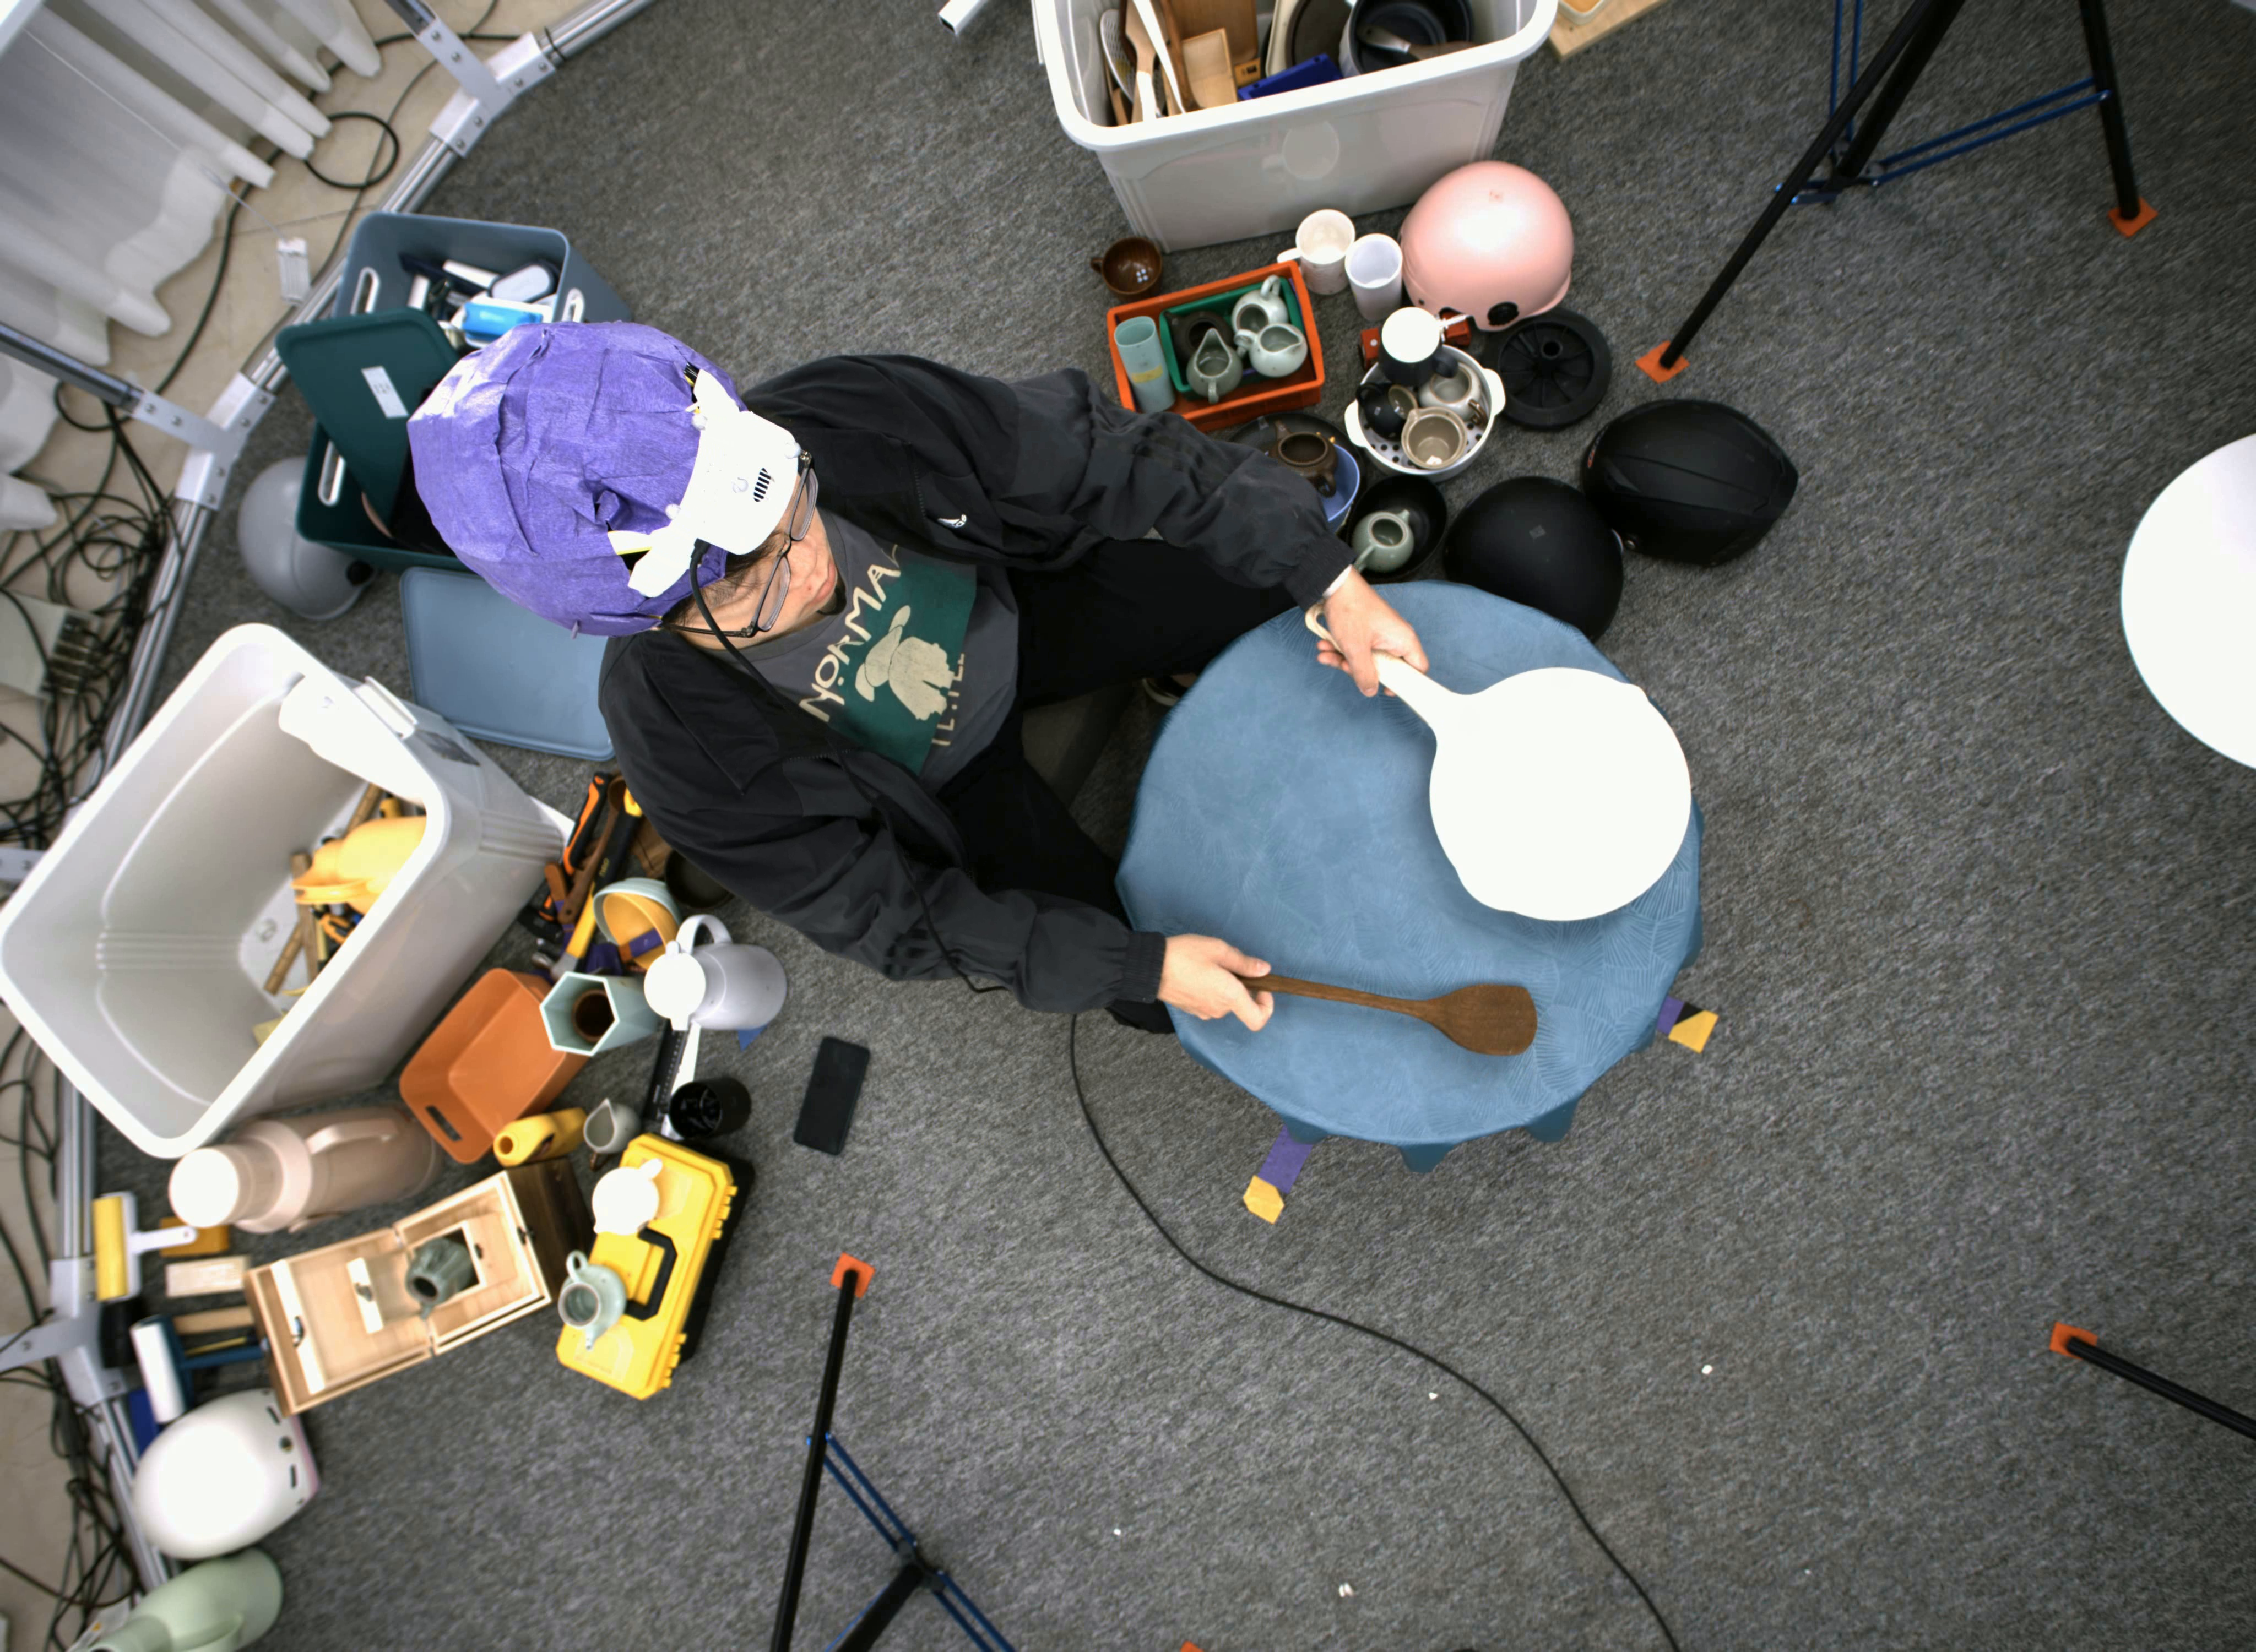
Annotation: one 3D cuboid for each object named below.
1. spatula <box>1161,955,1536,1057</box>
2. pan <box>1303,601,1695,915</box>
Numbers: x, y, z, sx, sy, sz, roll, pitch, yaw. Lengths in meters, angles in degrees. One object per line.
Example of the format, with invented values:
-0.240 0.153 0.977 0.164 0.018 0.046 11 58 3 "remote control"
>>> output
0.222 0.172 1.420 0.387 0.093 0.016 9 132 10 "spatula"
0.361 -0.092 1.397 0.433 0.102 0.264 37 96 9 "pan"
